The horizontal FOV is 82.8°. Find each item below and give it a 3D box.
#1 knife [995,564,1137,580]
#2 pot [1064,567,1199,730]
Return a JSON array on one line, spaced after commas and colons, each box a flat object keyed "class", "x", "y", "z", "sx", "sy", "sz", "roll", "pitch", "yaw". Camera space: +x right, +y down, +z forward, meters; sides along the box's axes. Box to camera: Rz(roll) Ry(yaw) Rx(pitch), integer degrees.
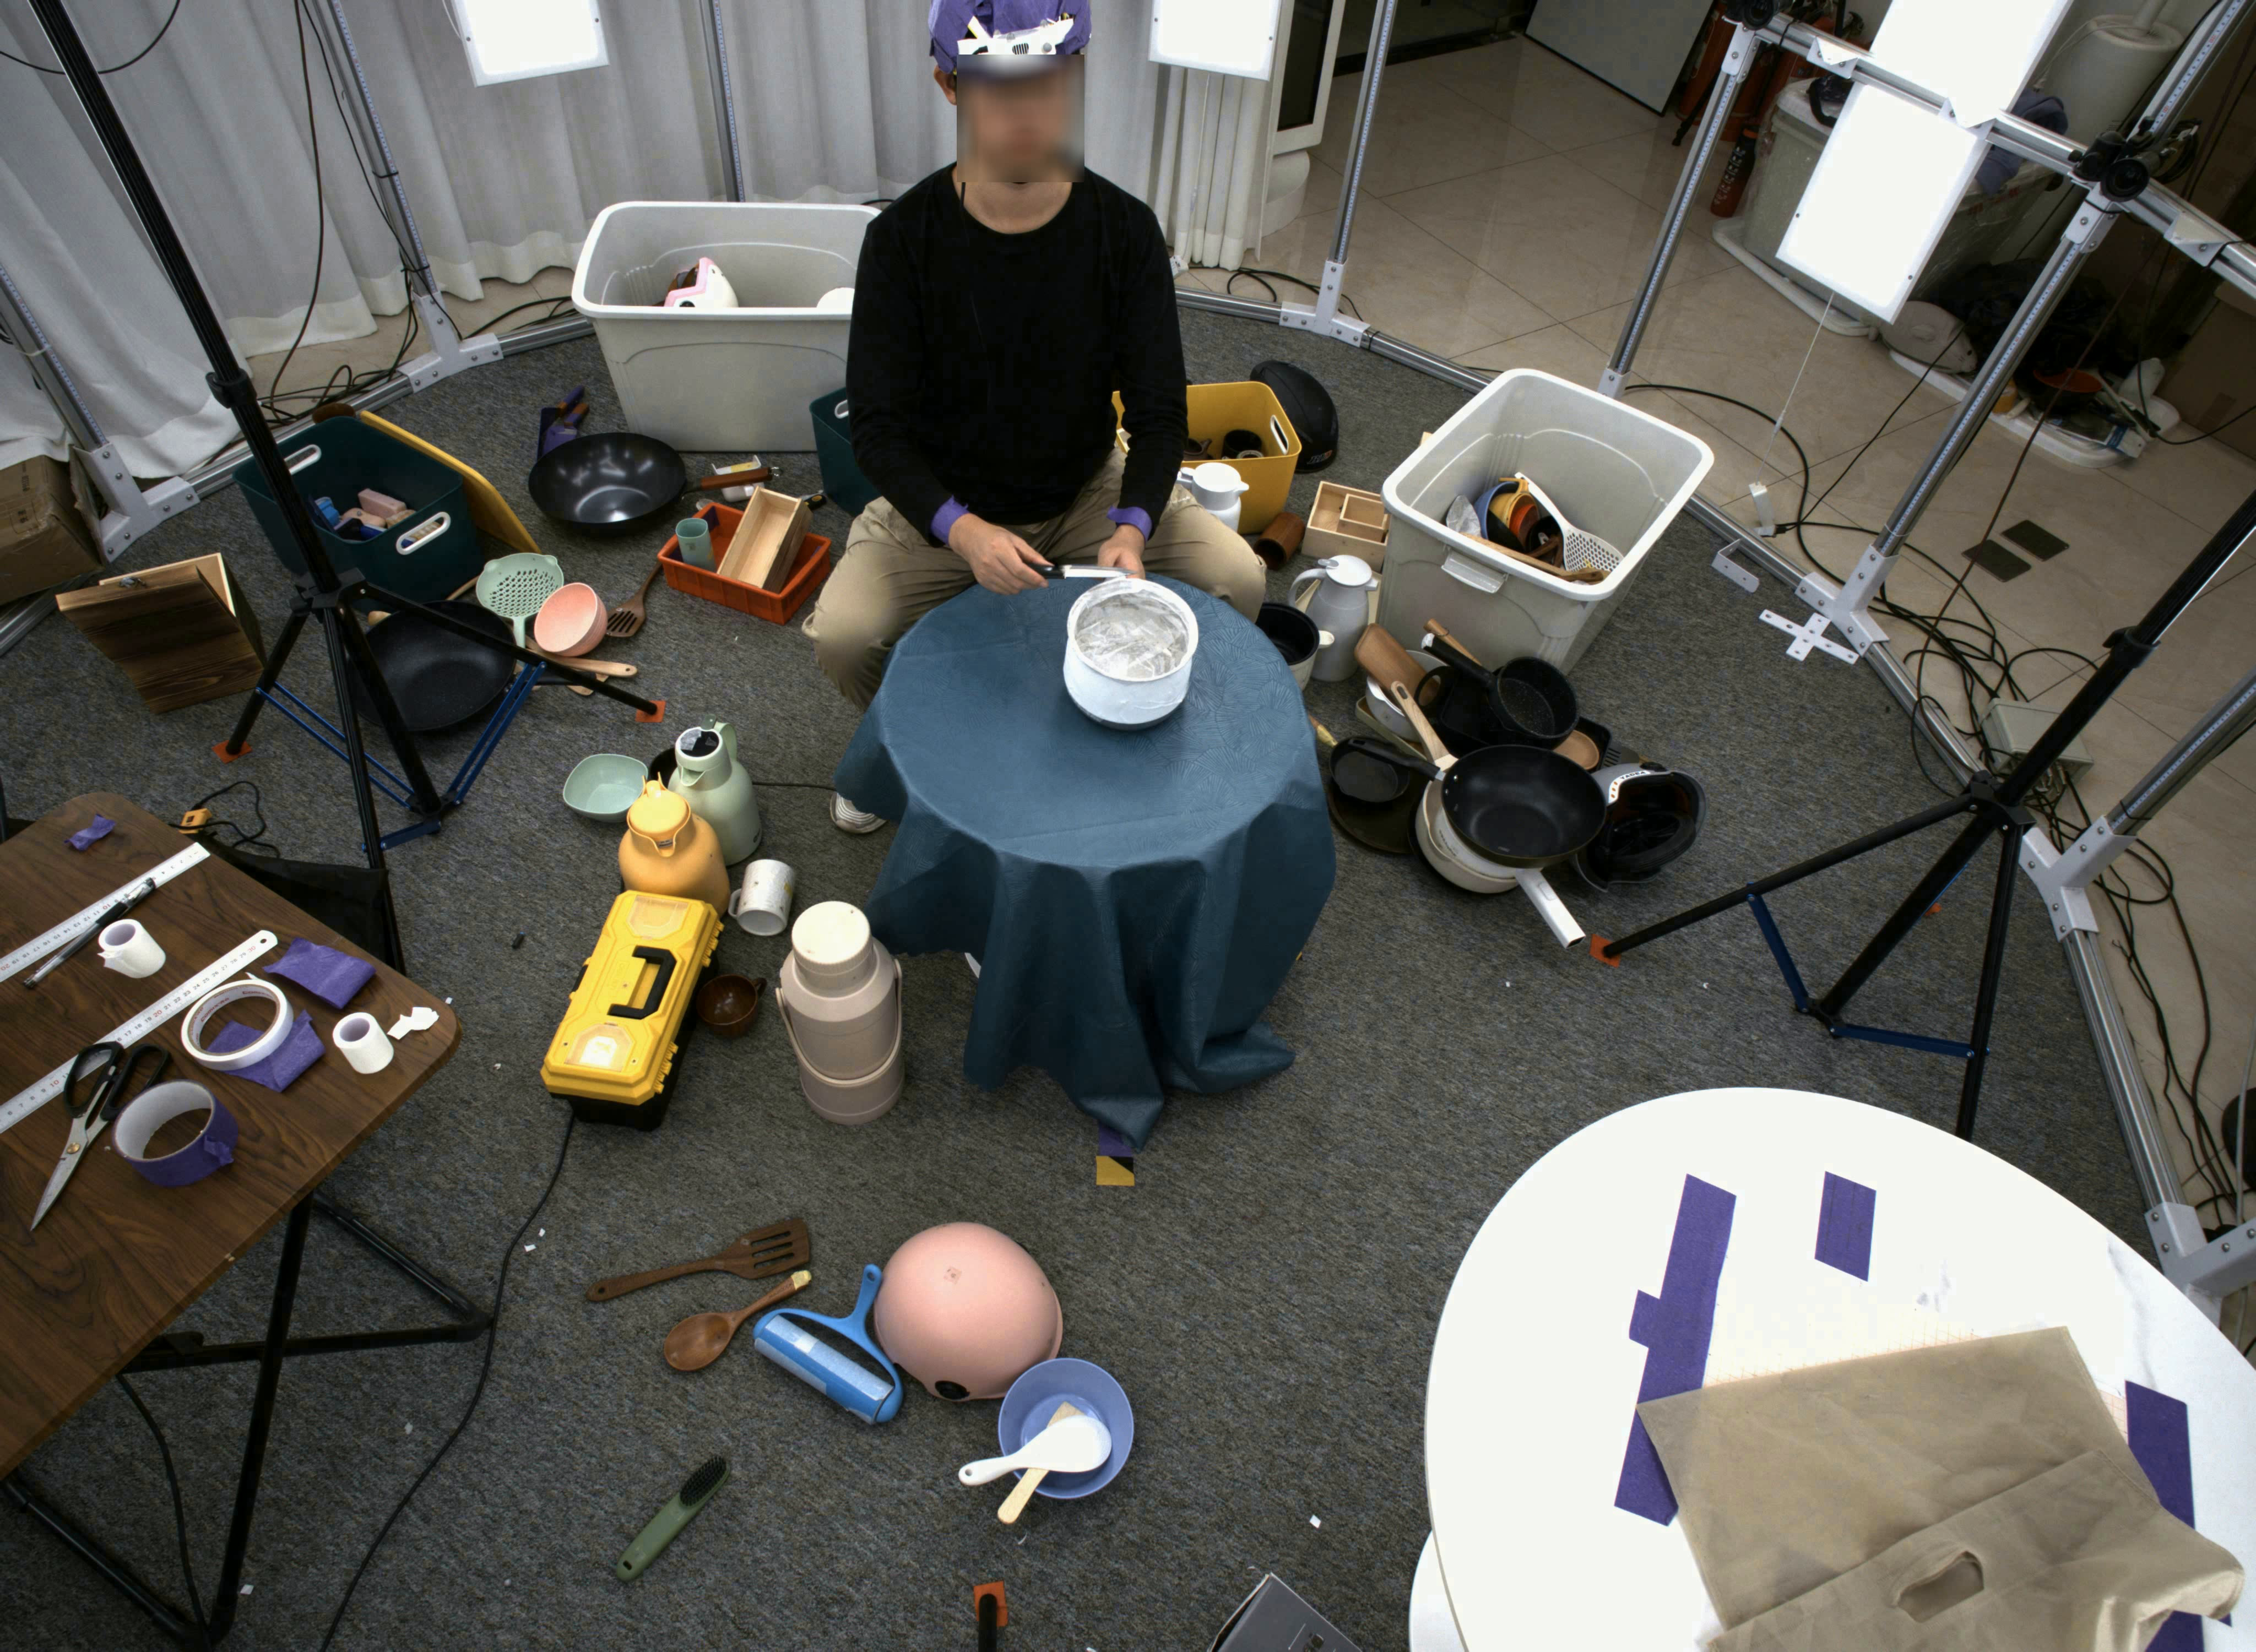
[{"class": "knife", "x": -0.088, "y": -0.347, "z": 1.765, "sx": 0.240, "sy": 0.016, "sz": 0.025, "roll": 8, "pitch": 57, "yaw": 33}, {"class": "pot", "x": -0.004, "y": -0.257, "z": 1.785, "sx": 0.178, "sy": 0.134, "sz": 0.239, "roll": -7, "pitch": 60, "yaw": -10}]
